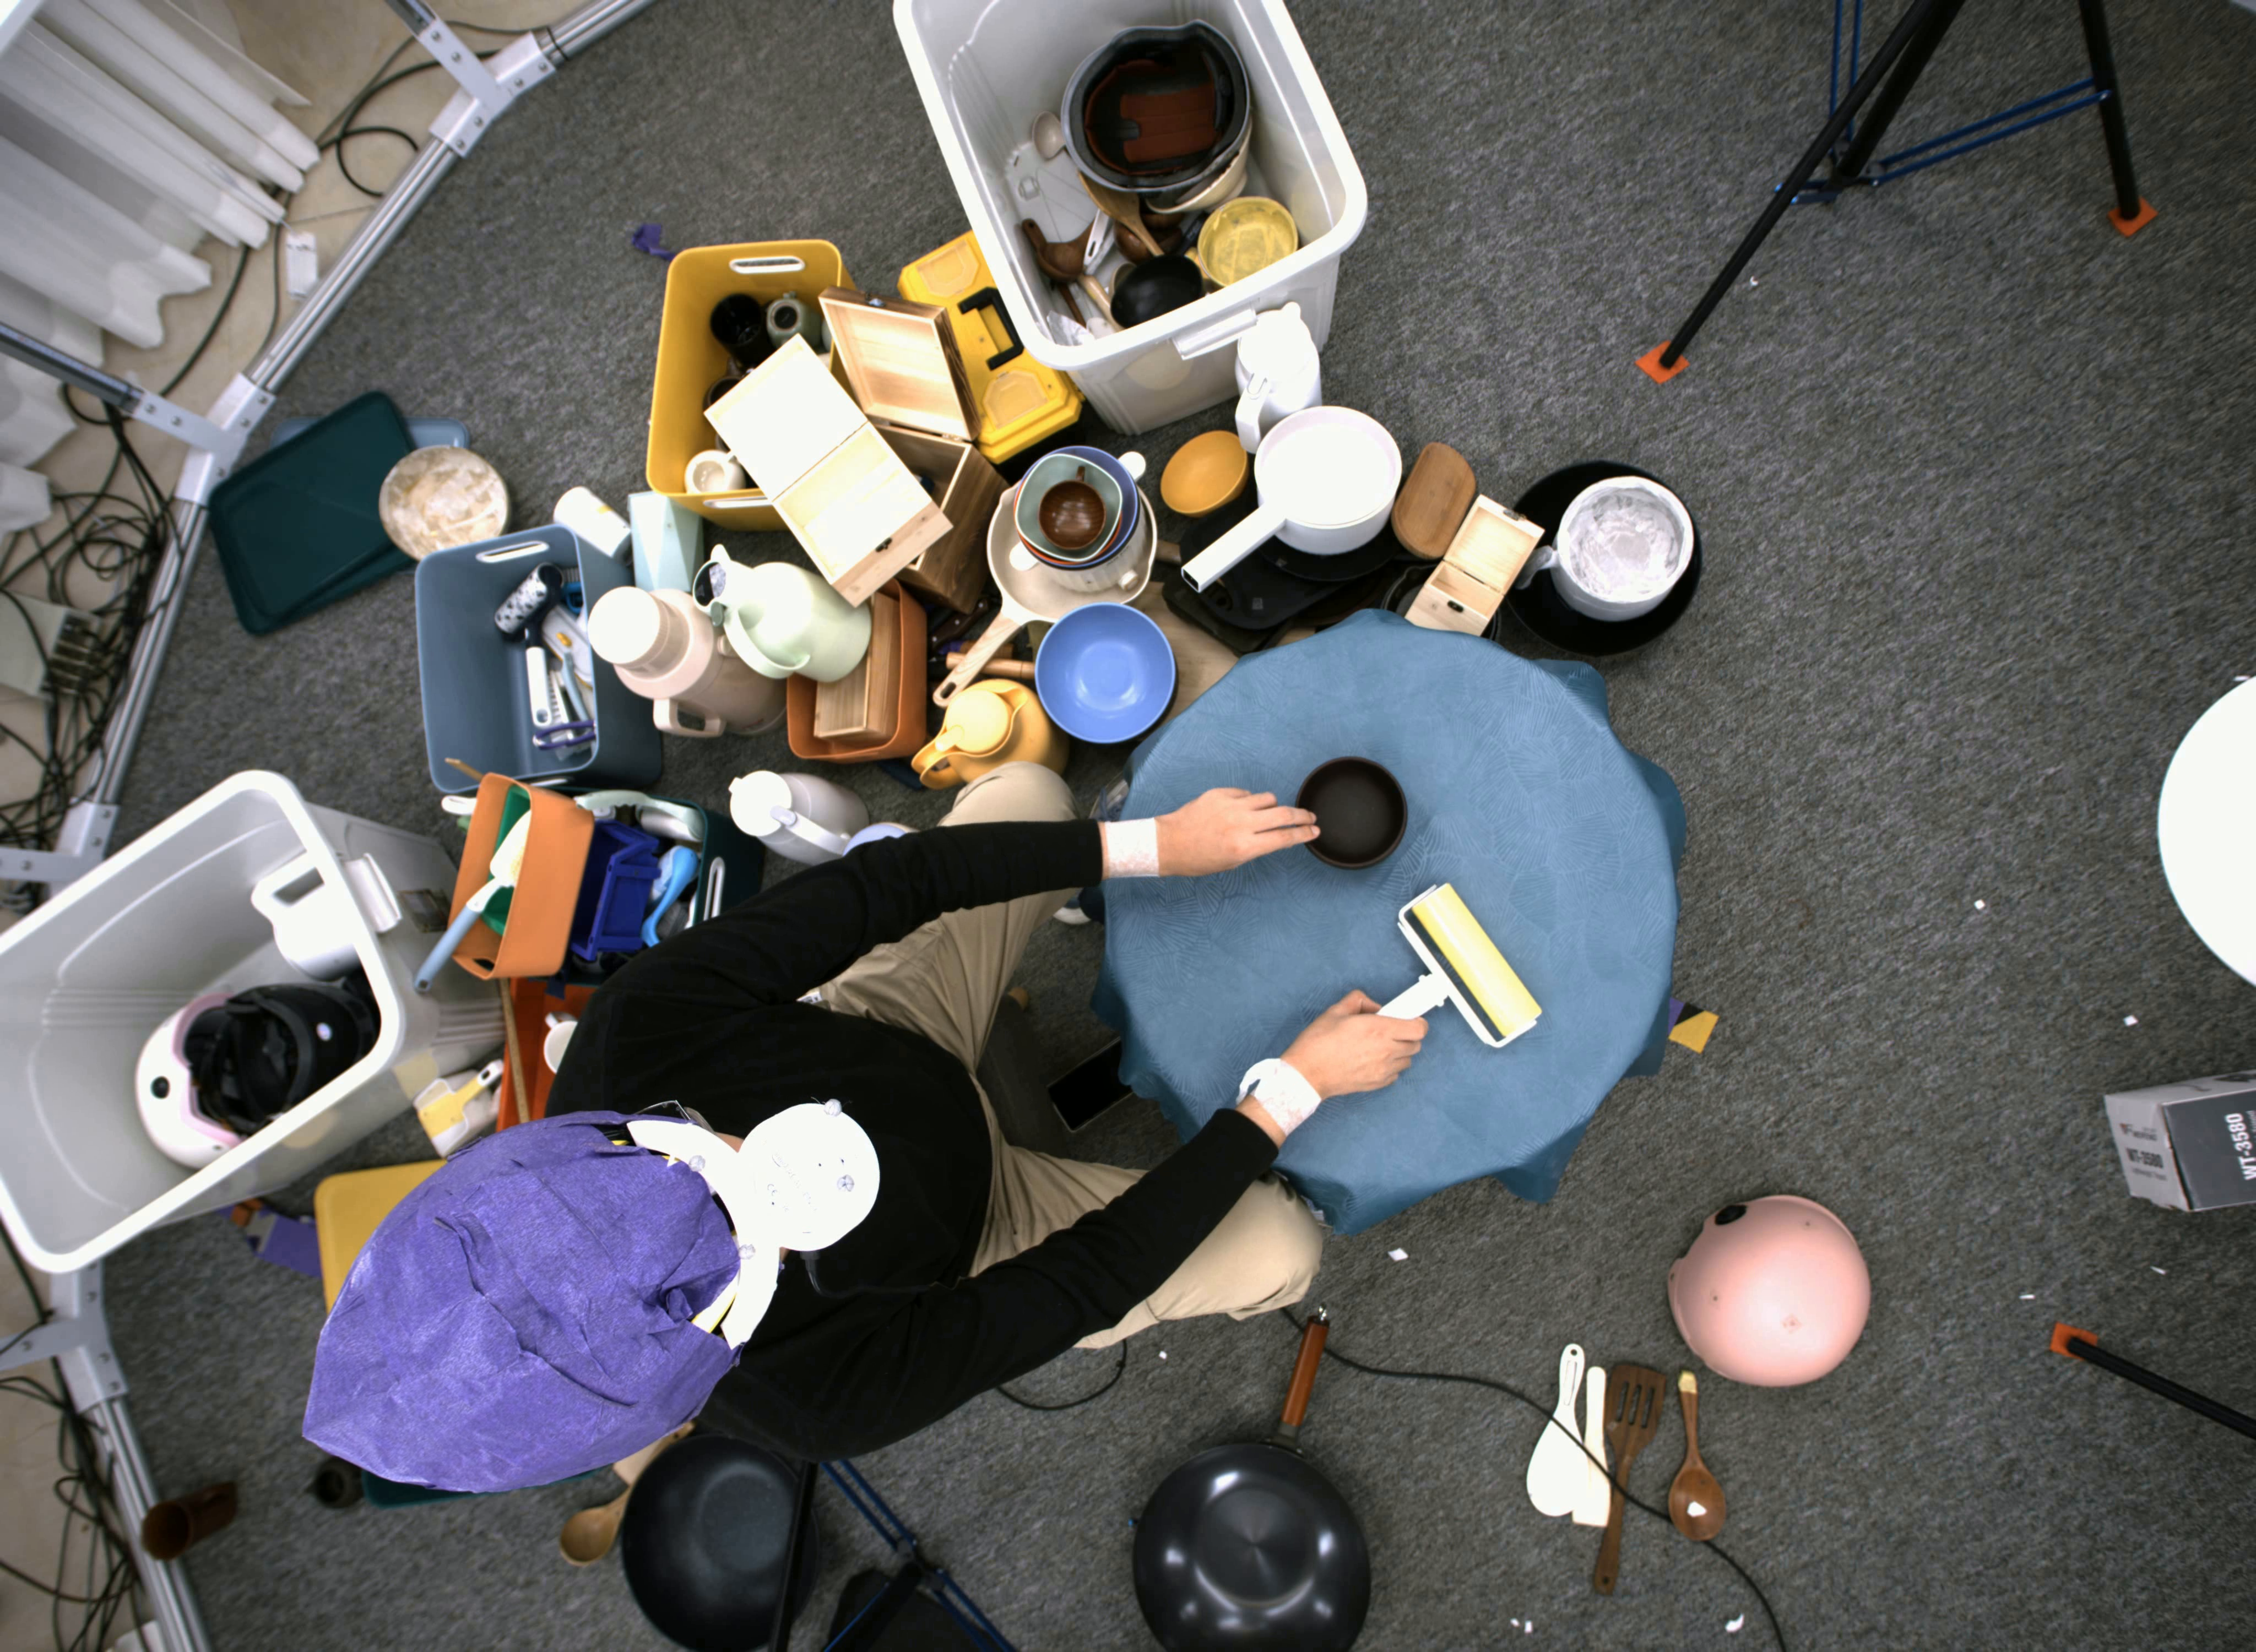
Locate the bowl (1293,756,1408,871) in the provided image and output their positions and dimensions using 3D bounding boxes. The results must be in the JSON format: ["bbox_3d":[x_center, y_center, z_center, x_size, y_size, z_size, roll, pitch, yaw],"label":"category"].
[{"bbox_3d":[0.231,-0.012,1.434,0.118,0.070,0.117,-1,85,10],"label":"bowl"}]

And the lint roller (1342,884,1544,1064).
[{"bbox_3d":[0.301,0.179,1.418,0.192,0.052,0.173,-36,81,-2],"label":"lint roller"}]
